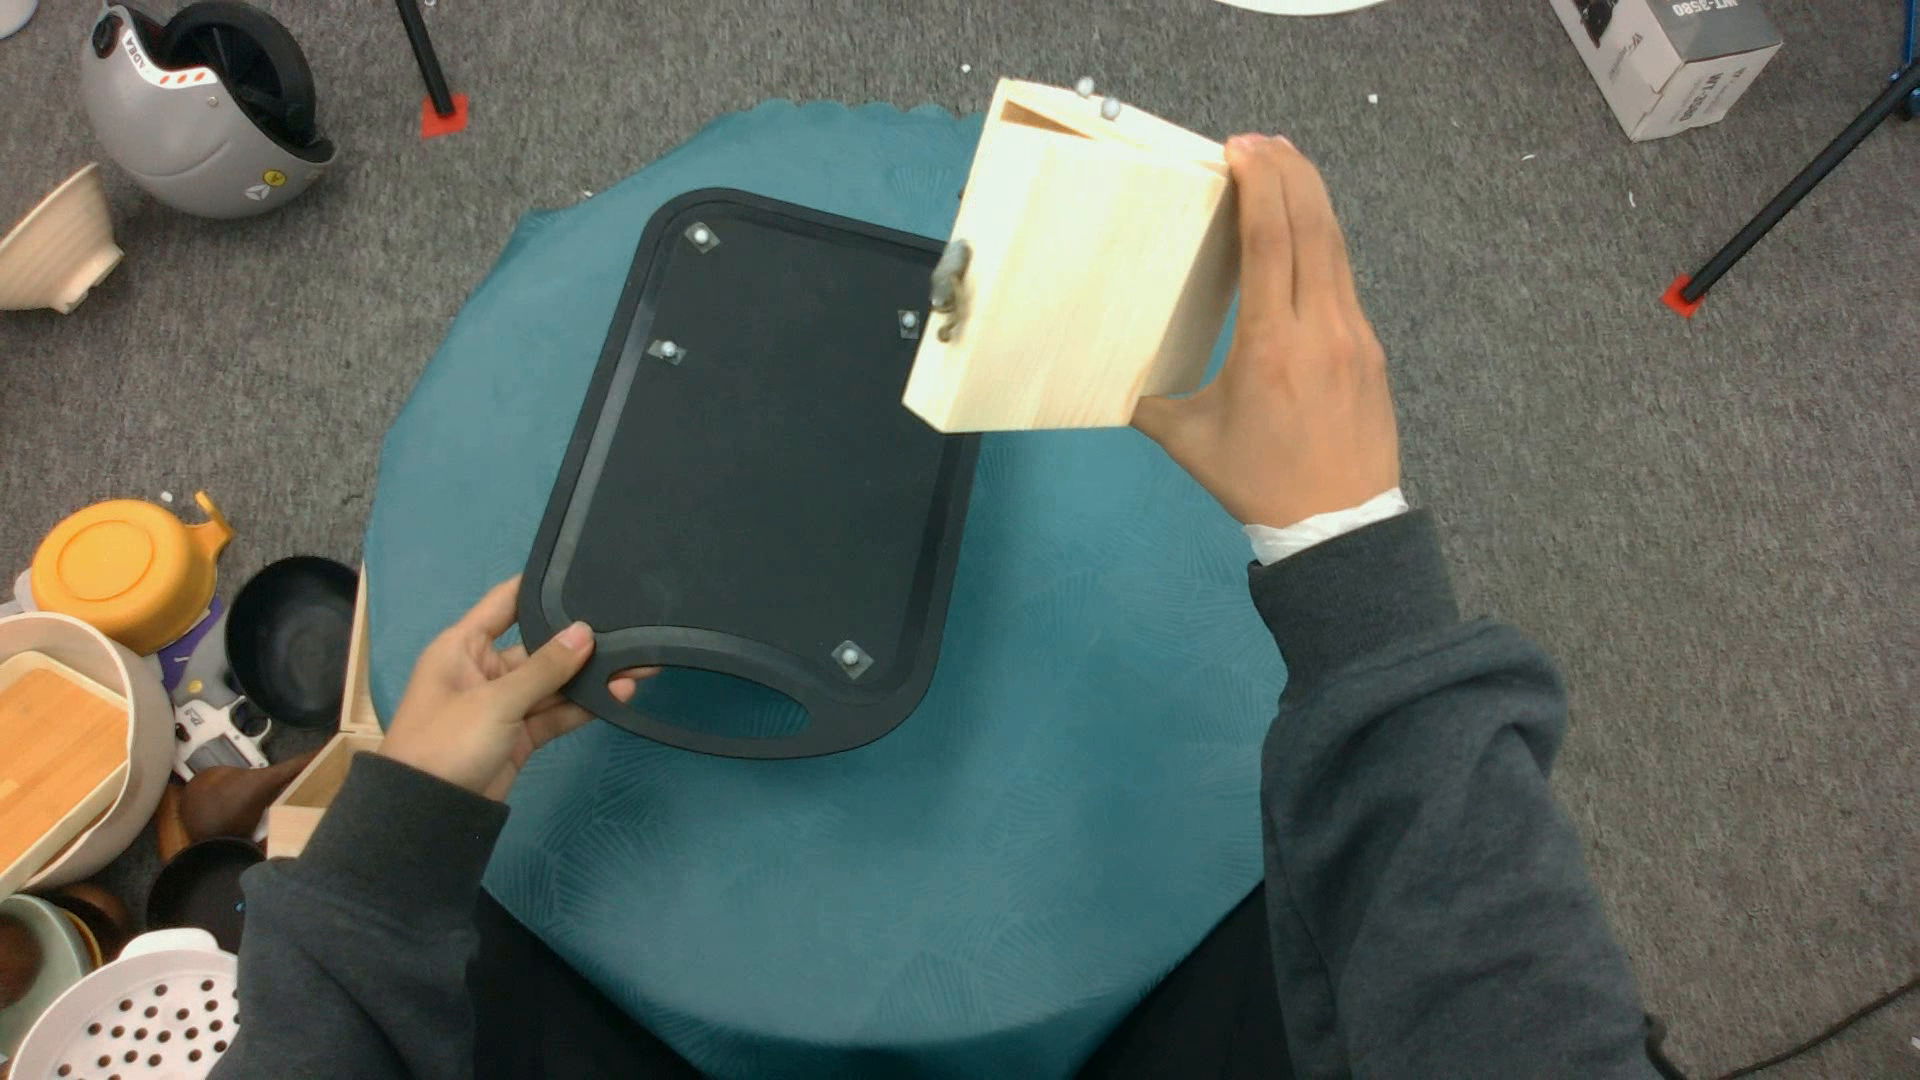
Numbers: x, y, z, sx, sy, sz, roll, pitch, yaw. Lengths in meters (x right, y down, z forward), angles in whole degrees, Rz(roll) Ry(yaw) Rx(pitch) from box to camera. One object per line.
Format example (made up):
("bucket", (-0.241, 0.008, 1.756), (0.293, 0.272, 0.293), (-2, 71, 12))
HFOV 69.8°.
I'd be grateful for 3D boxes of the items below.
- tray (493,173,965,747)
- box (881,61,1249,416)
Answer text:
("tray", (-0.107, -0.051, 0.722), (0.211, 0.010, 0.326), (13, 65, -3))
("box", (0.019, -0.127, 0.551), (0.134, 0.102, 0.185), (35, 29, 33))
